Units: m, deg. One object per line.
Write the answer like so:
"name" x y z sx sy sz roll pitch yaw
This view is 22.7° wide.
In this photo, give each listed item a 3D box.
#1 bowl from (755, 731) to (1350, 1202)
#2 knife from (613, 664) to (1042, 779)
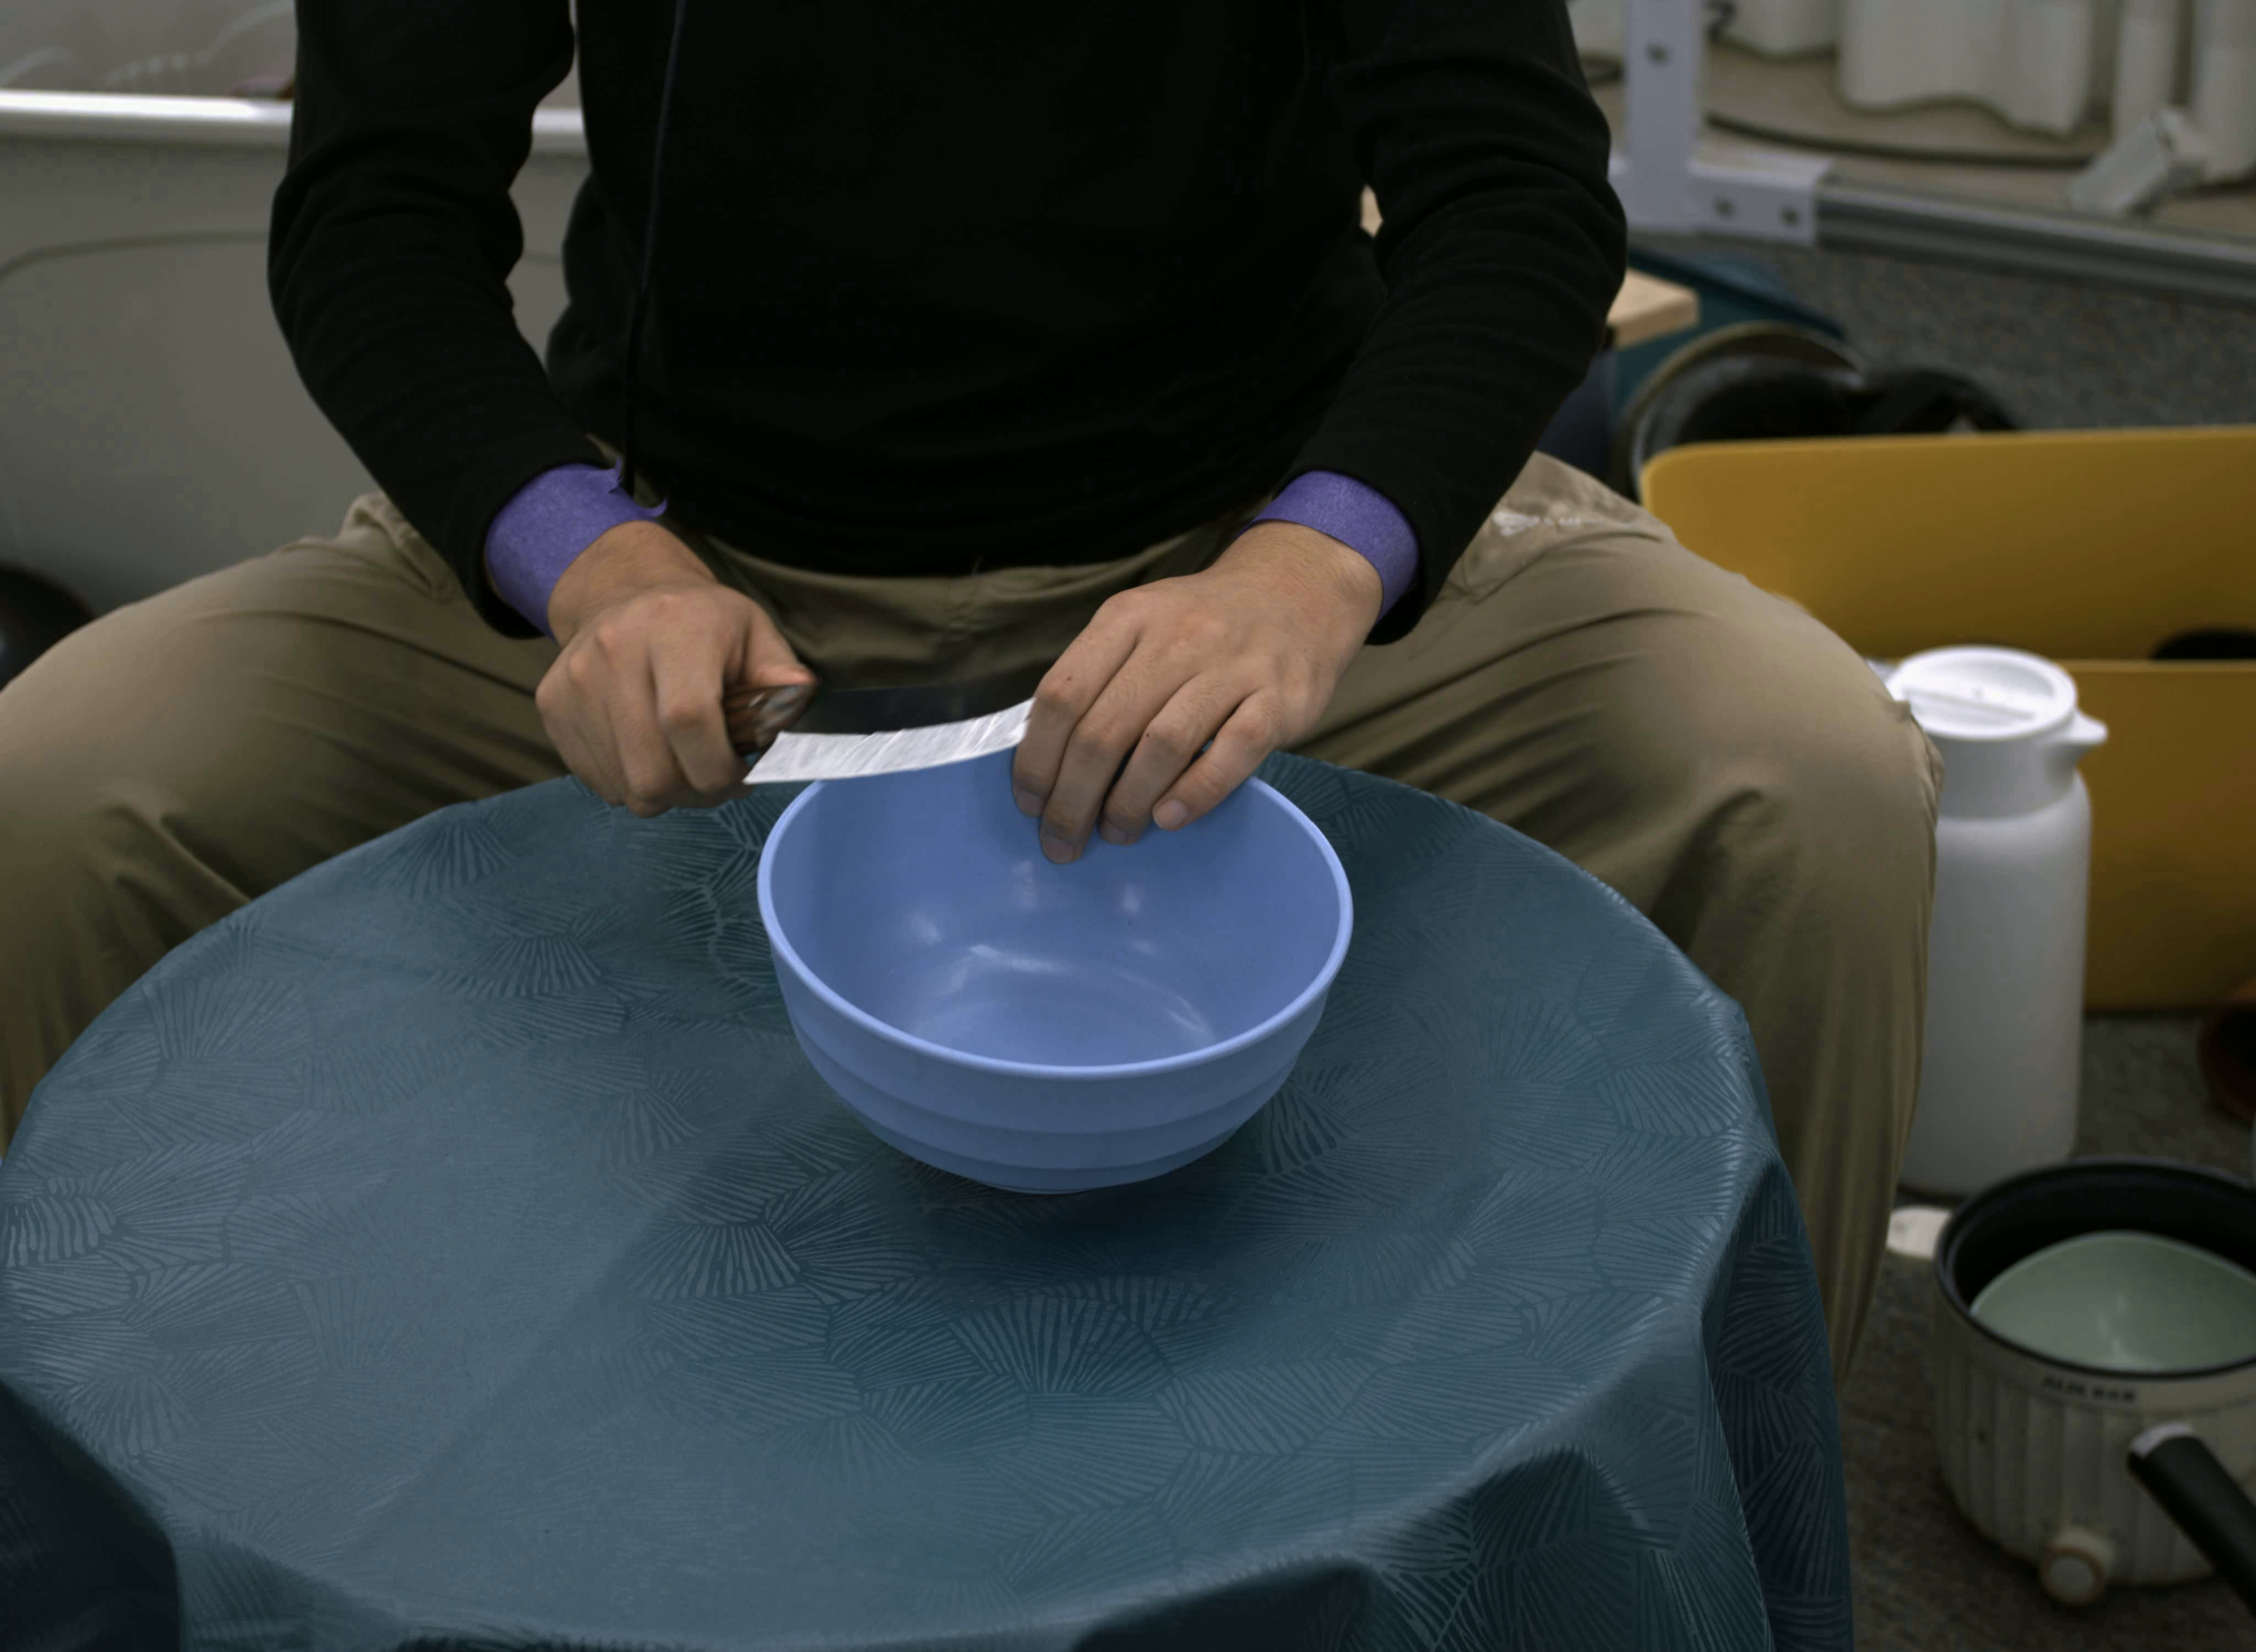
"bowl" -0.027 0.060 1.868 0.195 0.094 0.200 4 33 -2
"knife" -0.104 -0.034 1.919 0.051 0.020 0.287 -51 24 -21
